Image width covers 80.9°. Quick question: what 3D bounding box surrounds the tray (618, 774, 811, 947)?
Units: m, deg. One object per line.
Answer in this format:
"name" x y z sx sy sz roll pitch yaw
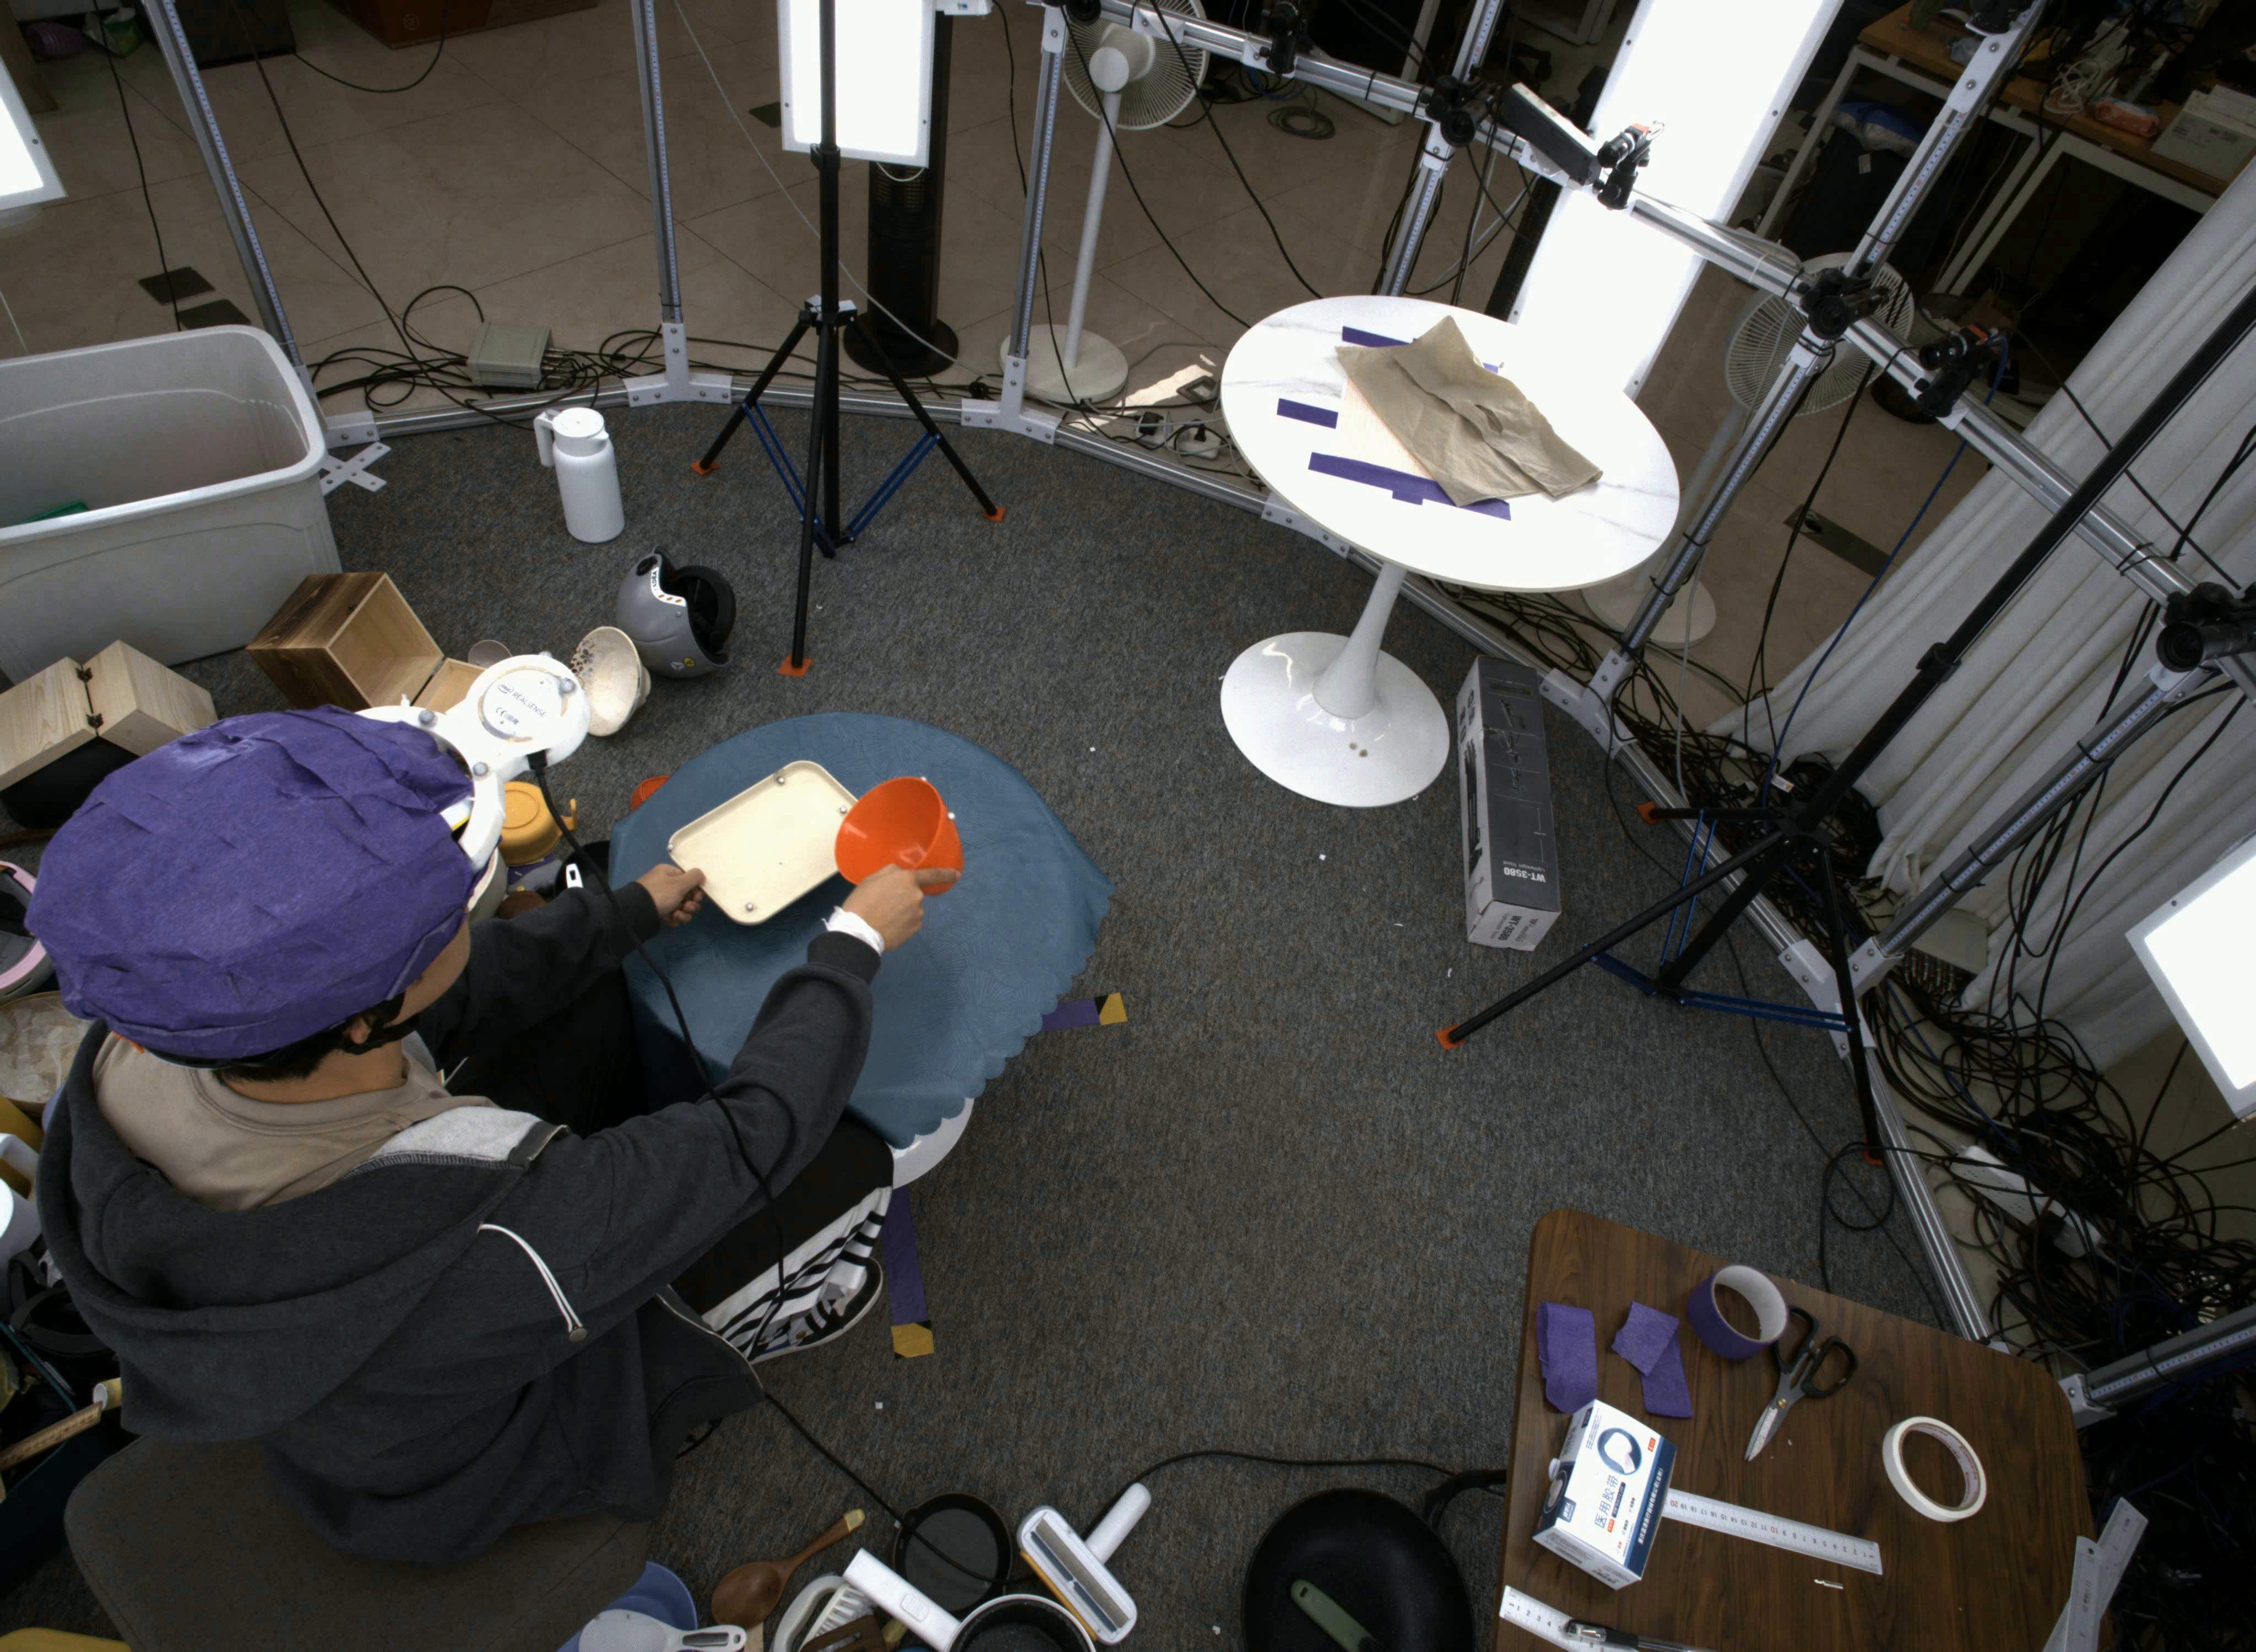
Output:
"tray" -0.500 0.040 1.612 0.168 0.018 0.240 39 52 11

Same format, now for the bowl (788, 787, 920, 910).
"bowl" -0.309 0.040 1.522 0.145 0.108 0.145 -19 49 25
